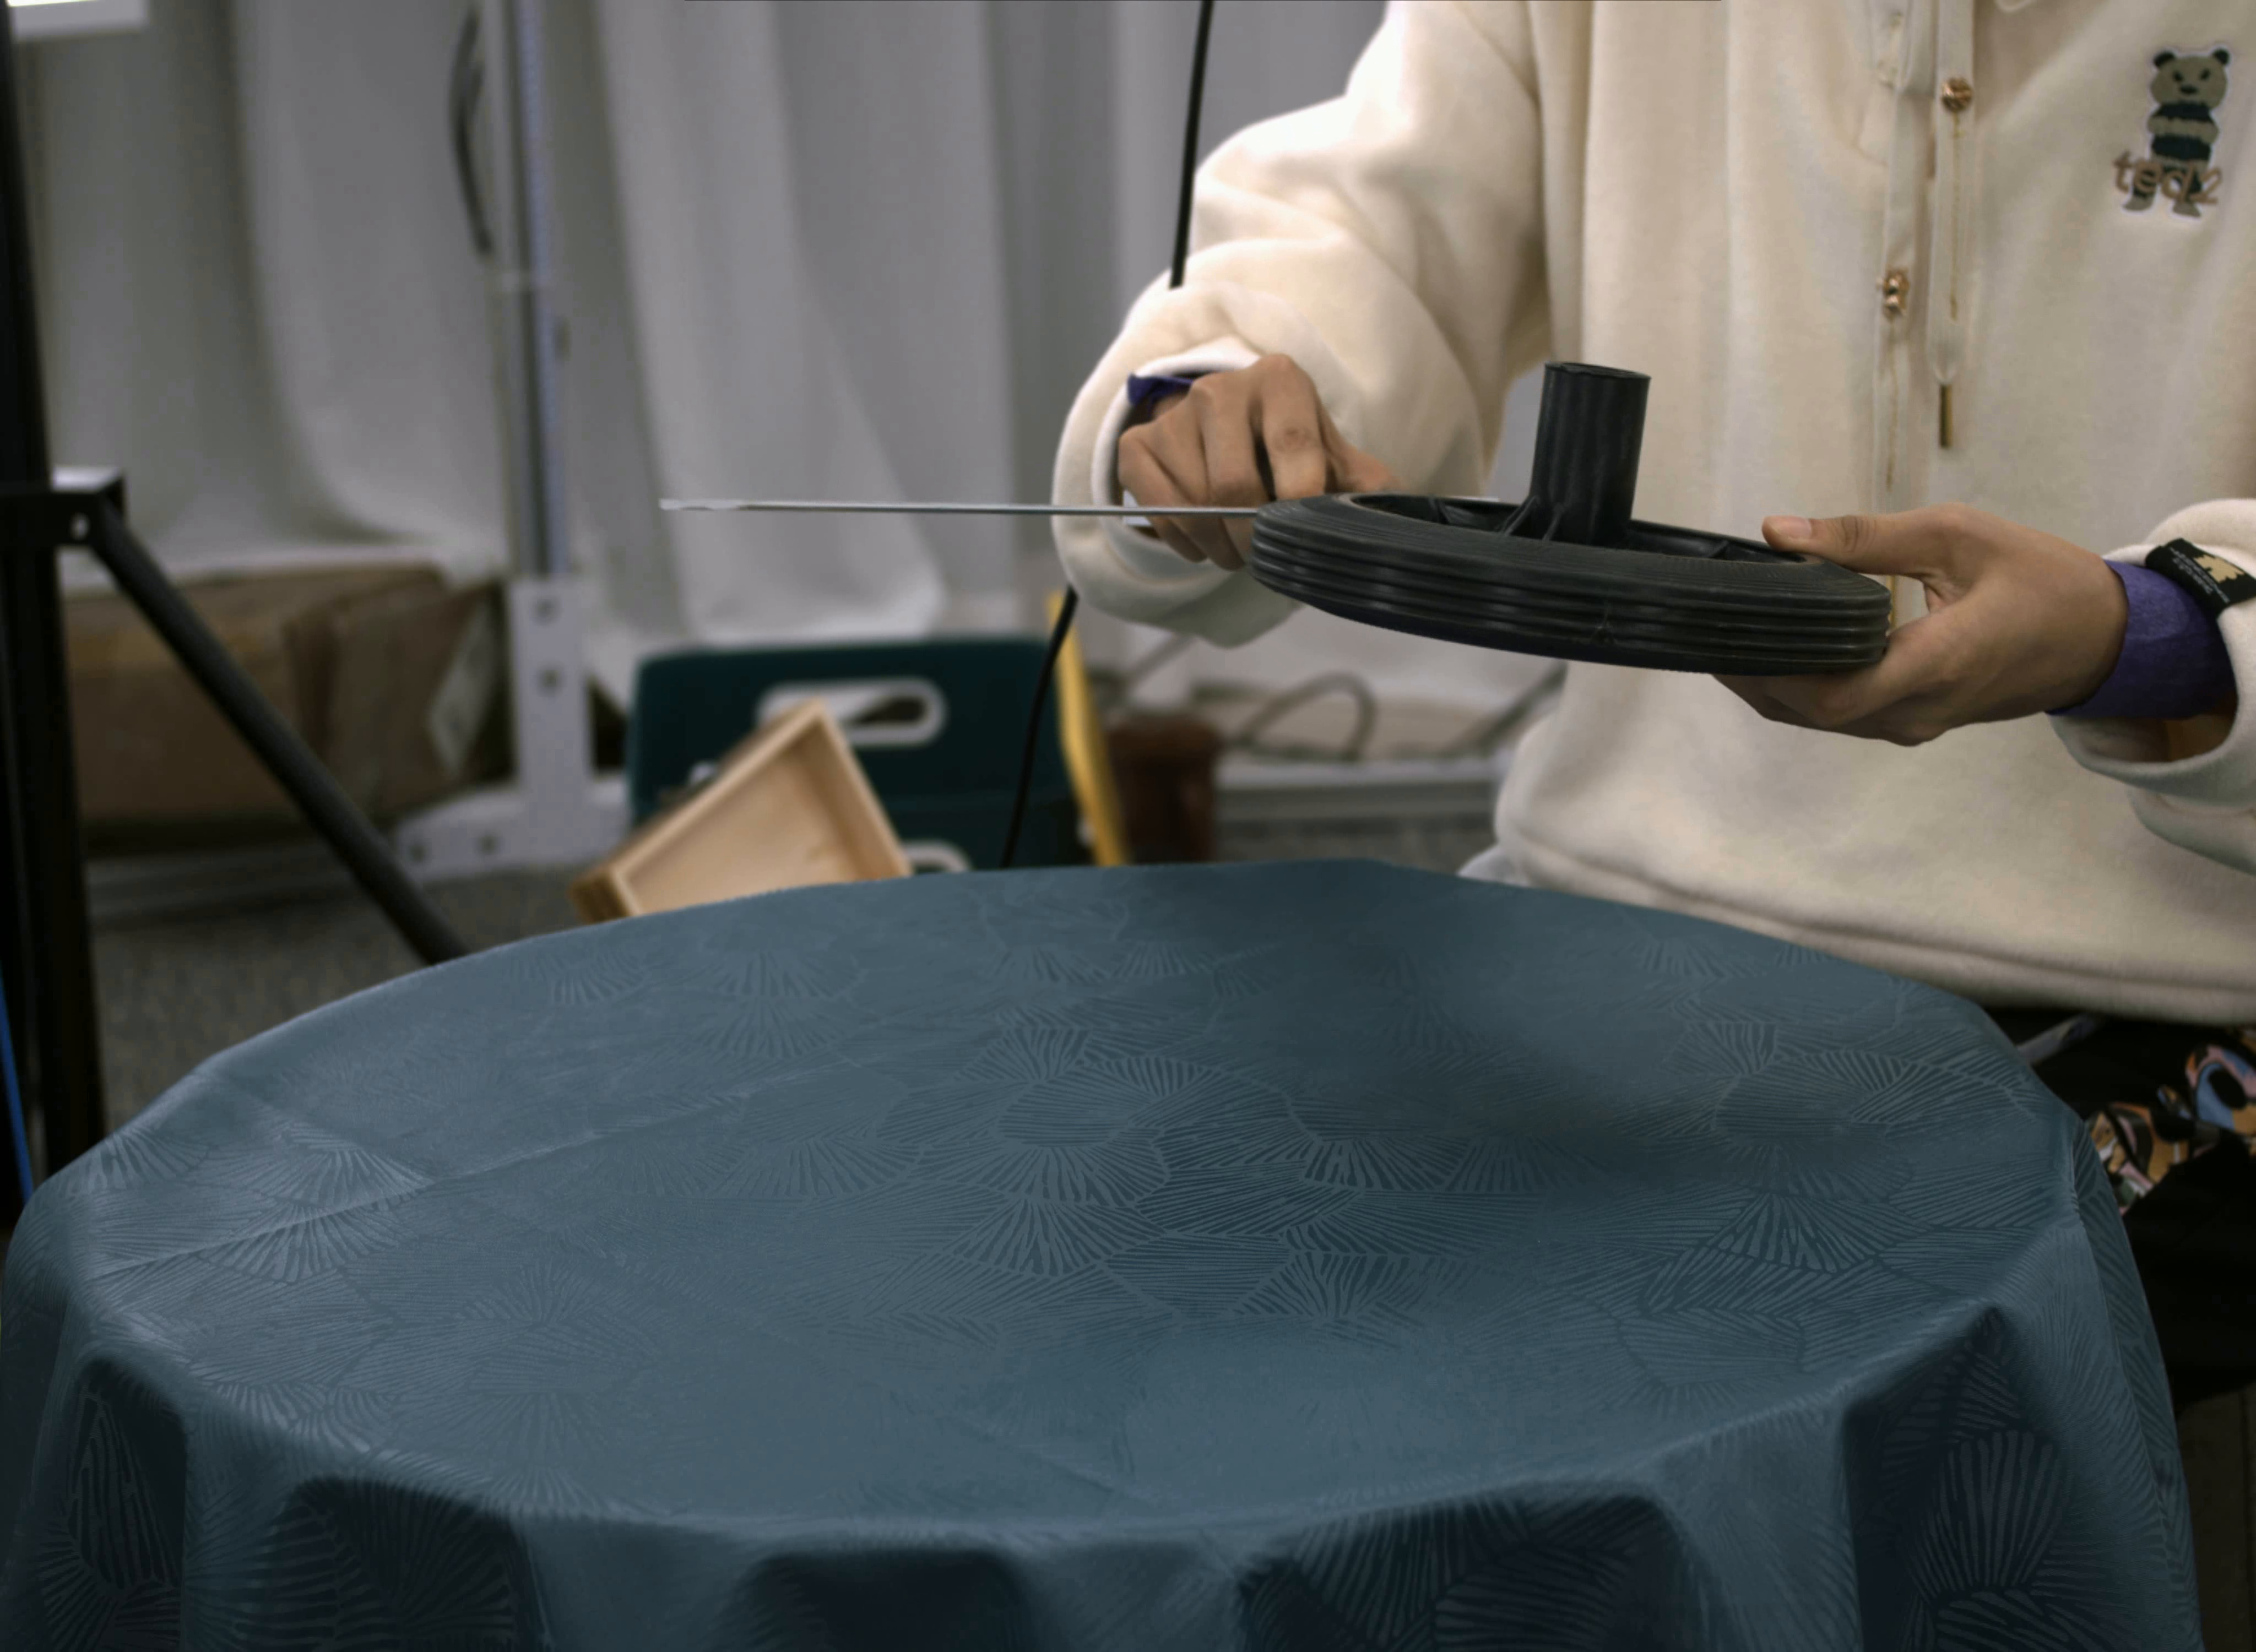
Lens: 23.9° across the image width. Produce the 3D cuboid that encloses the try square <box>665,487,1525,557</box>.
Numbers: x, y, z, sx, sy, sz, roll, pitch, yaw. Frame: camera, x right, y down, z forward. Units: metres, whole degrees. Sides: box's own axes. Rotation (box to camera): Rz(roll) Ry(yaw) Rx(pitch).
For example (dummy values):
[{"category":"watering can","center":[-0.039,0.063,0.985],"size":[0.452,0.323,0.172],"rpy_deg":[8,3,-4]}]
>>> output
[{"category":"try square","center":[-0.038,-0.094,1.625],"size":[0.305,0.016,0.155],"rpy_deg":[-1,0,-40]}]

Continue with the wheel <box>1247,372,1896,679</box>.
[{"category":"wheel","center":[0.132,-0.090,1.544],"size":[0.194,0.079,0.183],"rpy_deg":[13,9,34]}]
